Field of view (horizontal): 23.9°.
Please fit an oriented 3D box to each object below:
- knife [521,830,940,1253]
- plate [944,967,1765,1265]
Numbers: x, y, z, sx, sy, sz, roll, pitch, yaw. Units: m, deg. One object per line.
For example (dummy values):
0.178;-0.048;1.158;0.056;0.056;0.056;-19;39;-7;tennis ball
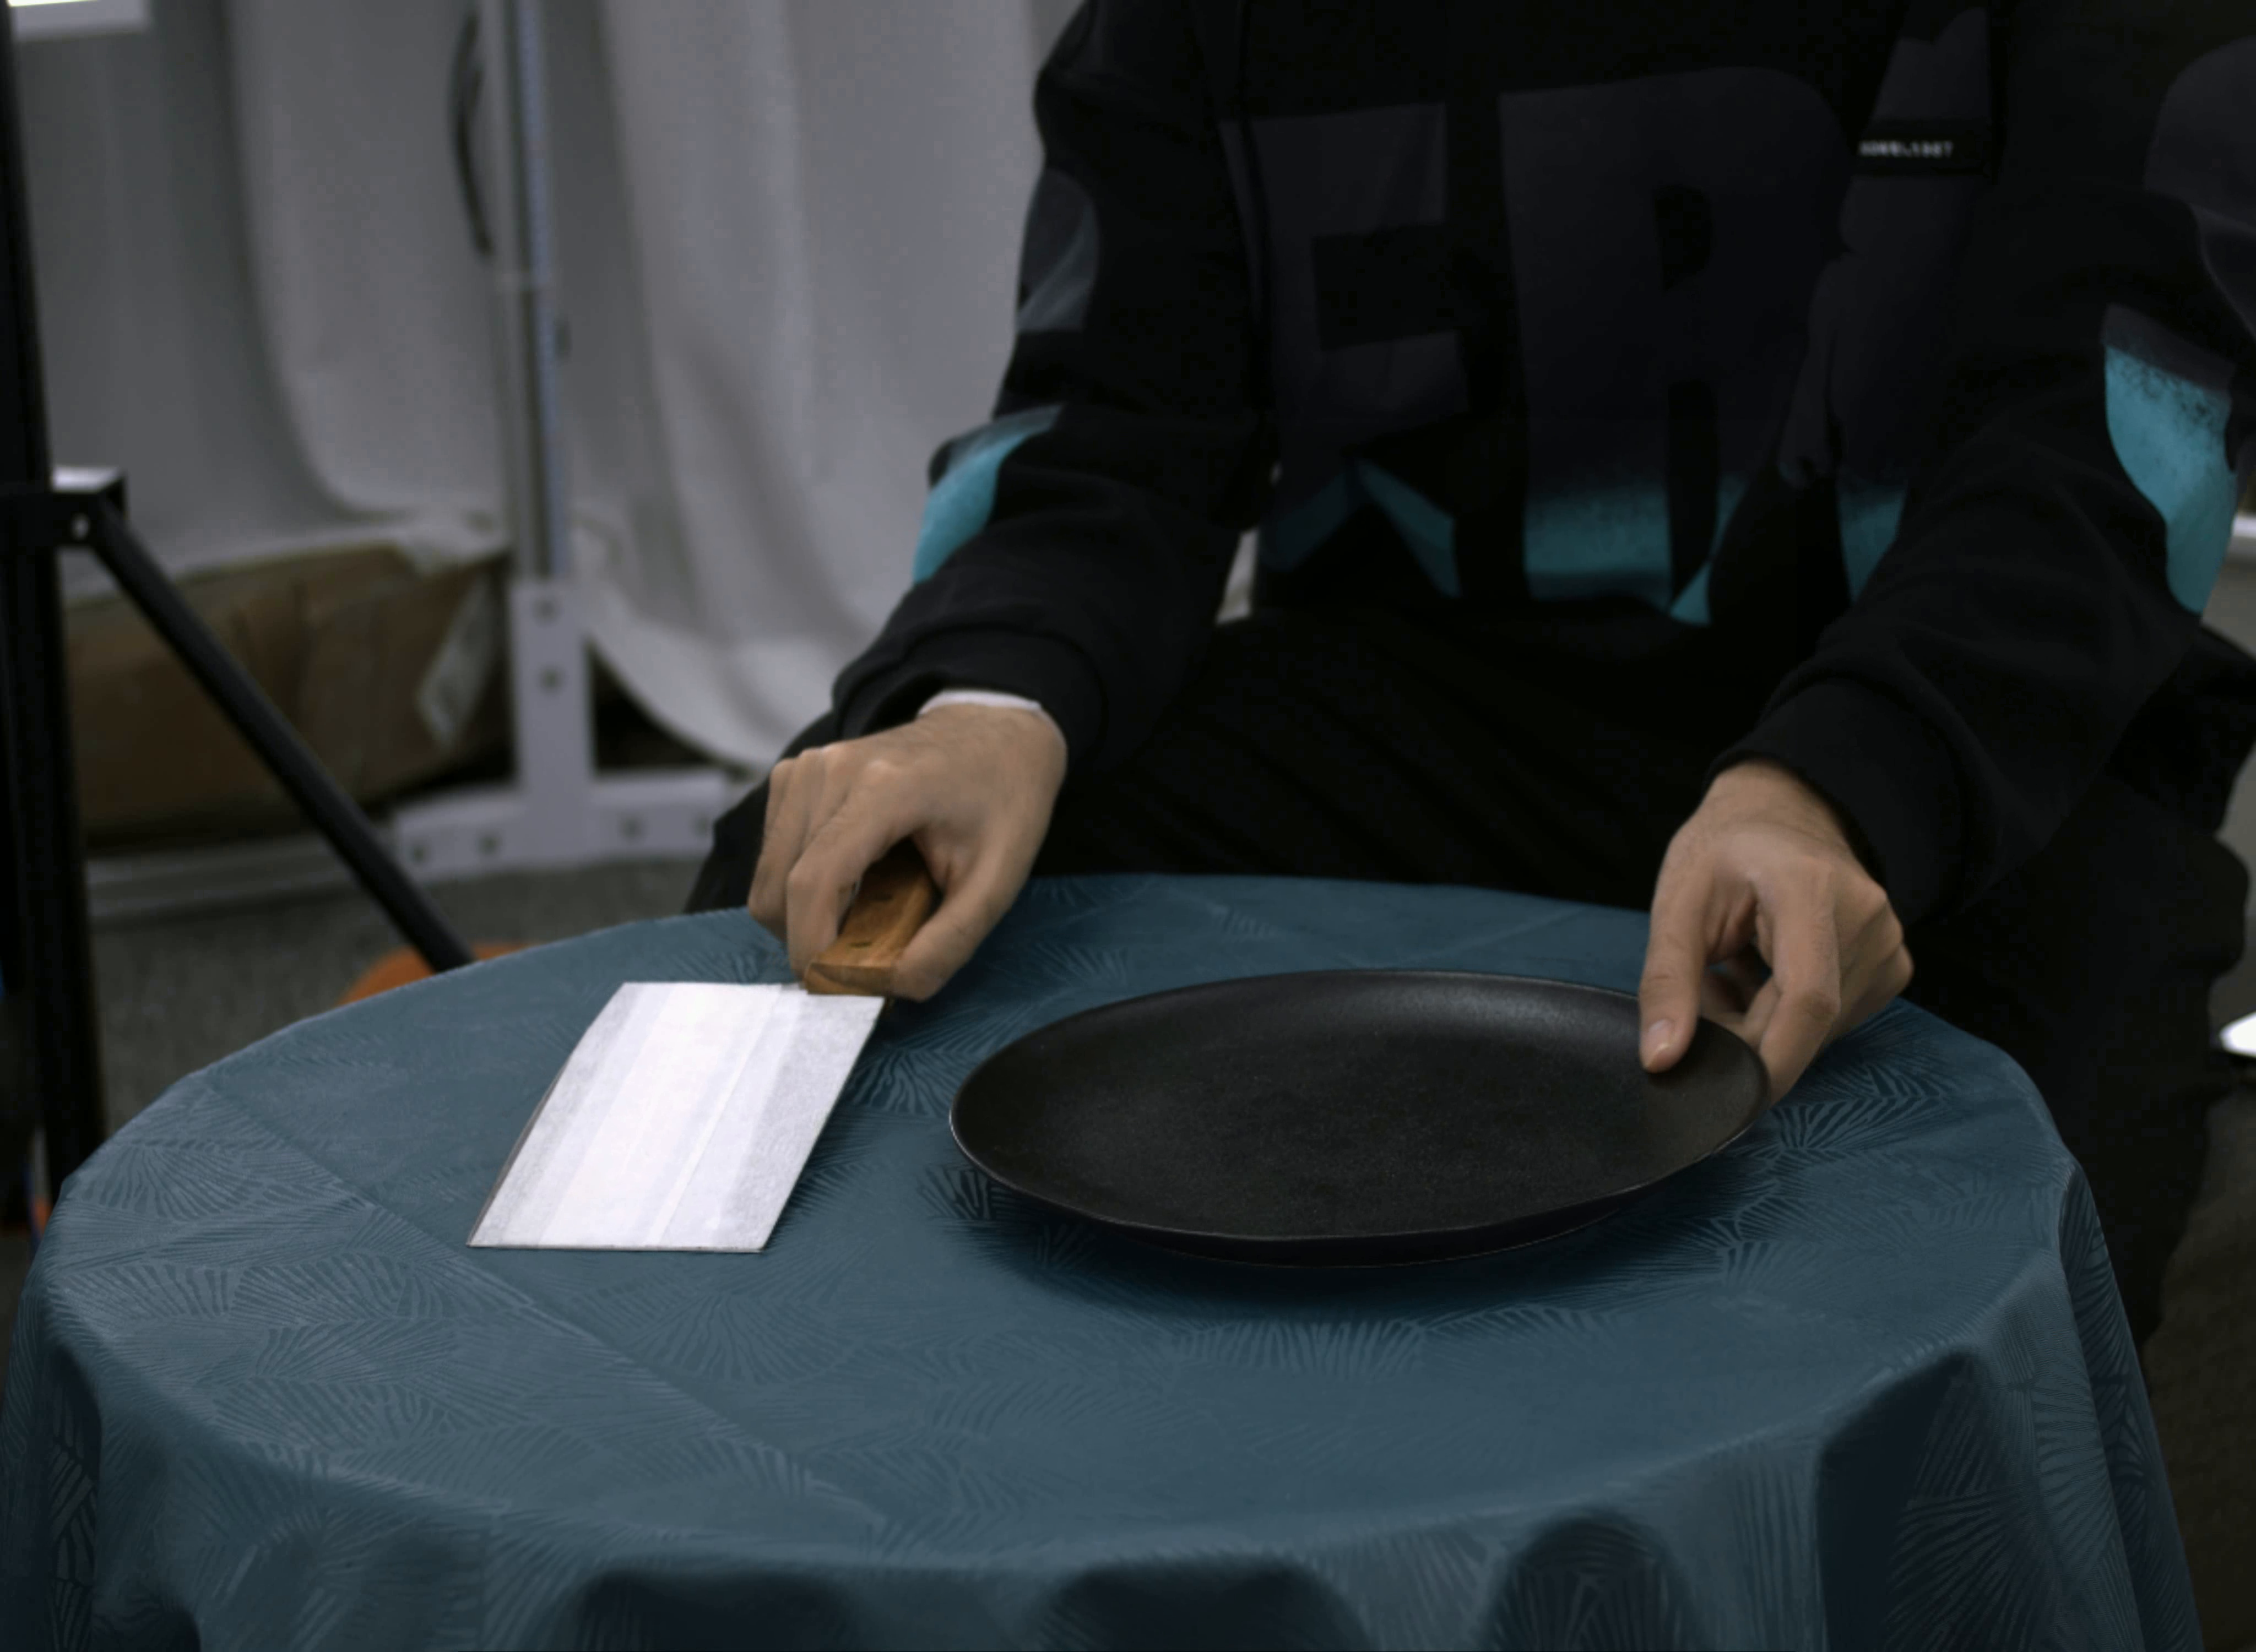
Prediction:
-0.123;0.065;1.671;0.093;0.021;0.305;0;22;10;knife
0.067;0.088;1.568;0.243;0.023;0.245;-4;16;0;plate
